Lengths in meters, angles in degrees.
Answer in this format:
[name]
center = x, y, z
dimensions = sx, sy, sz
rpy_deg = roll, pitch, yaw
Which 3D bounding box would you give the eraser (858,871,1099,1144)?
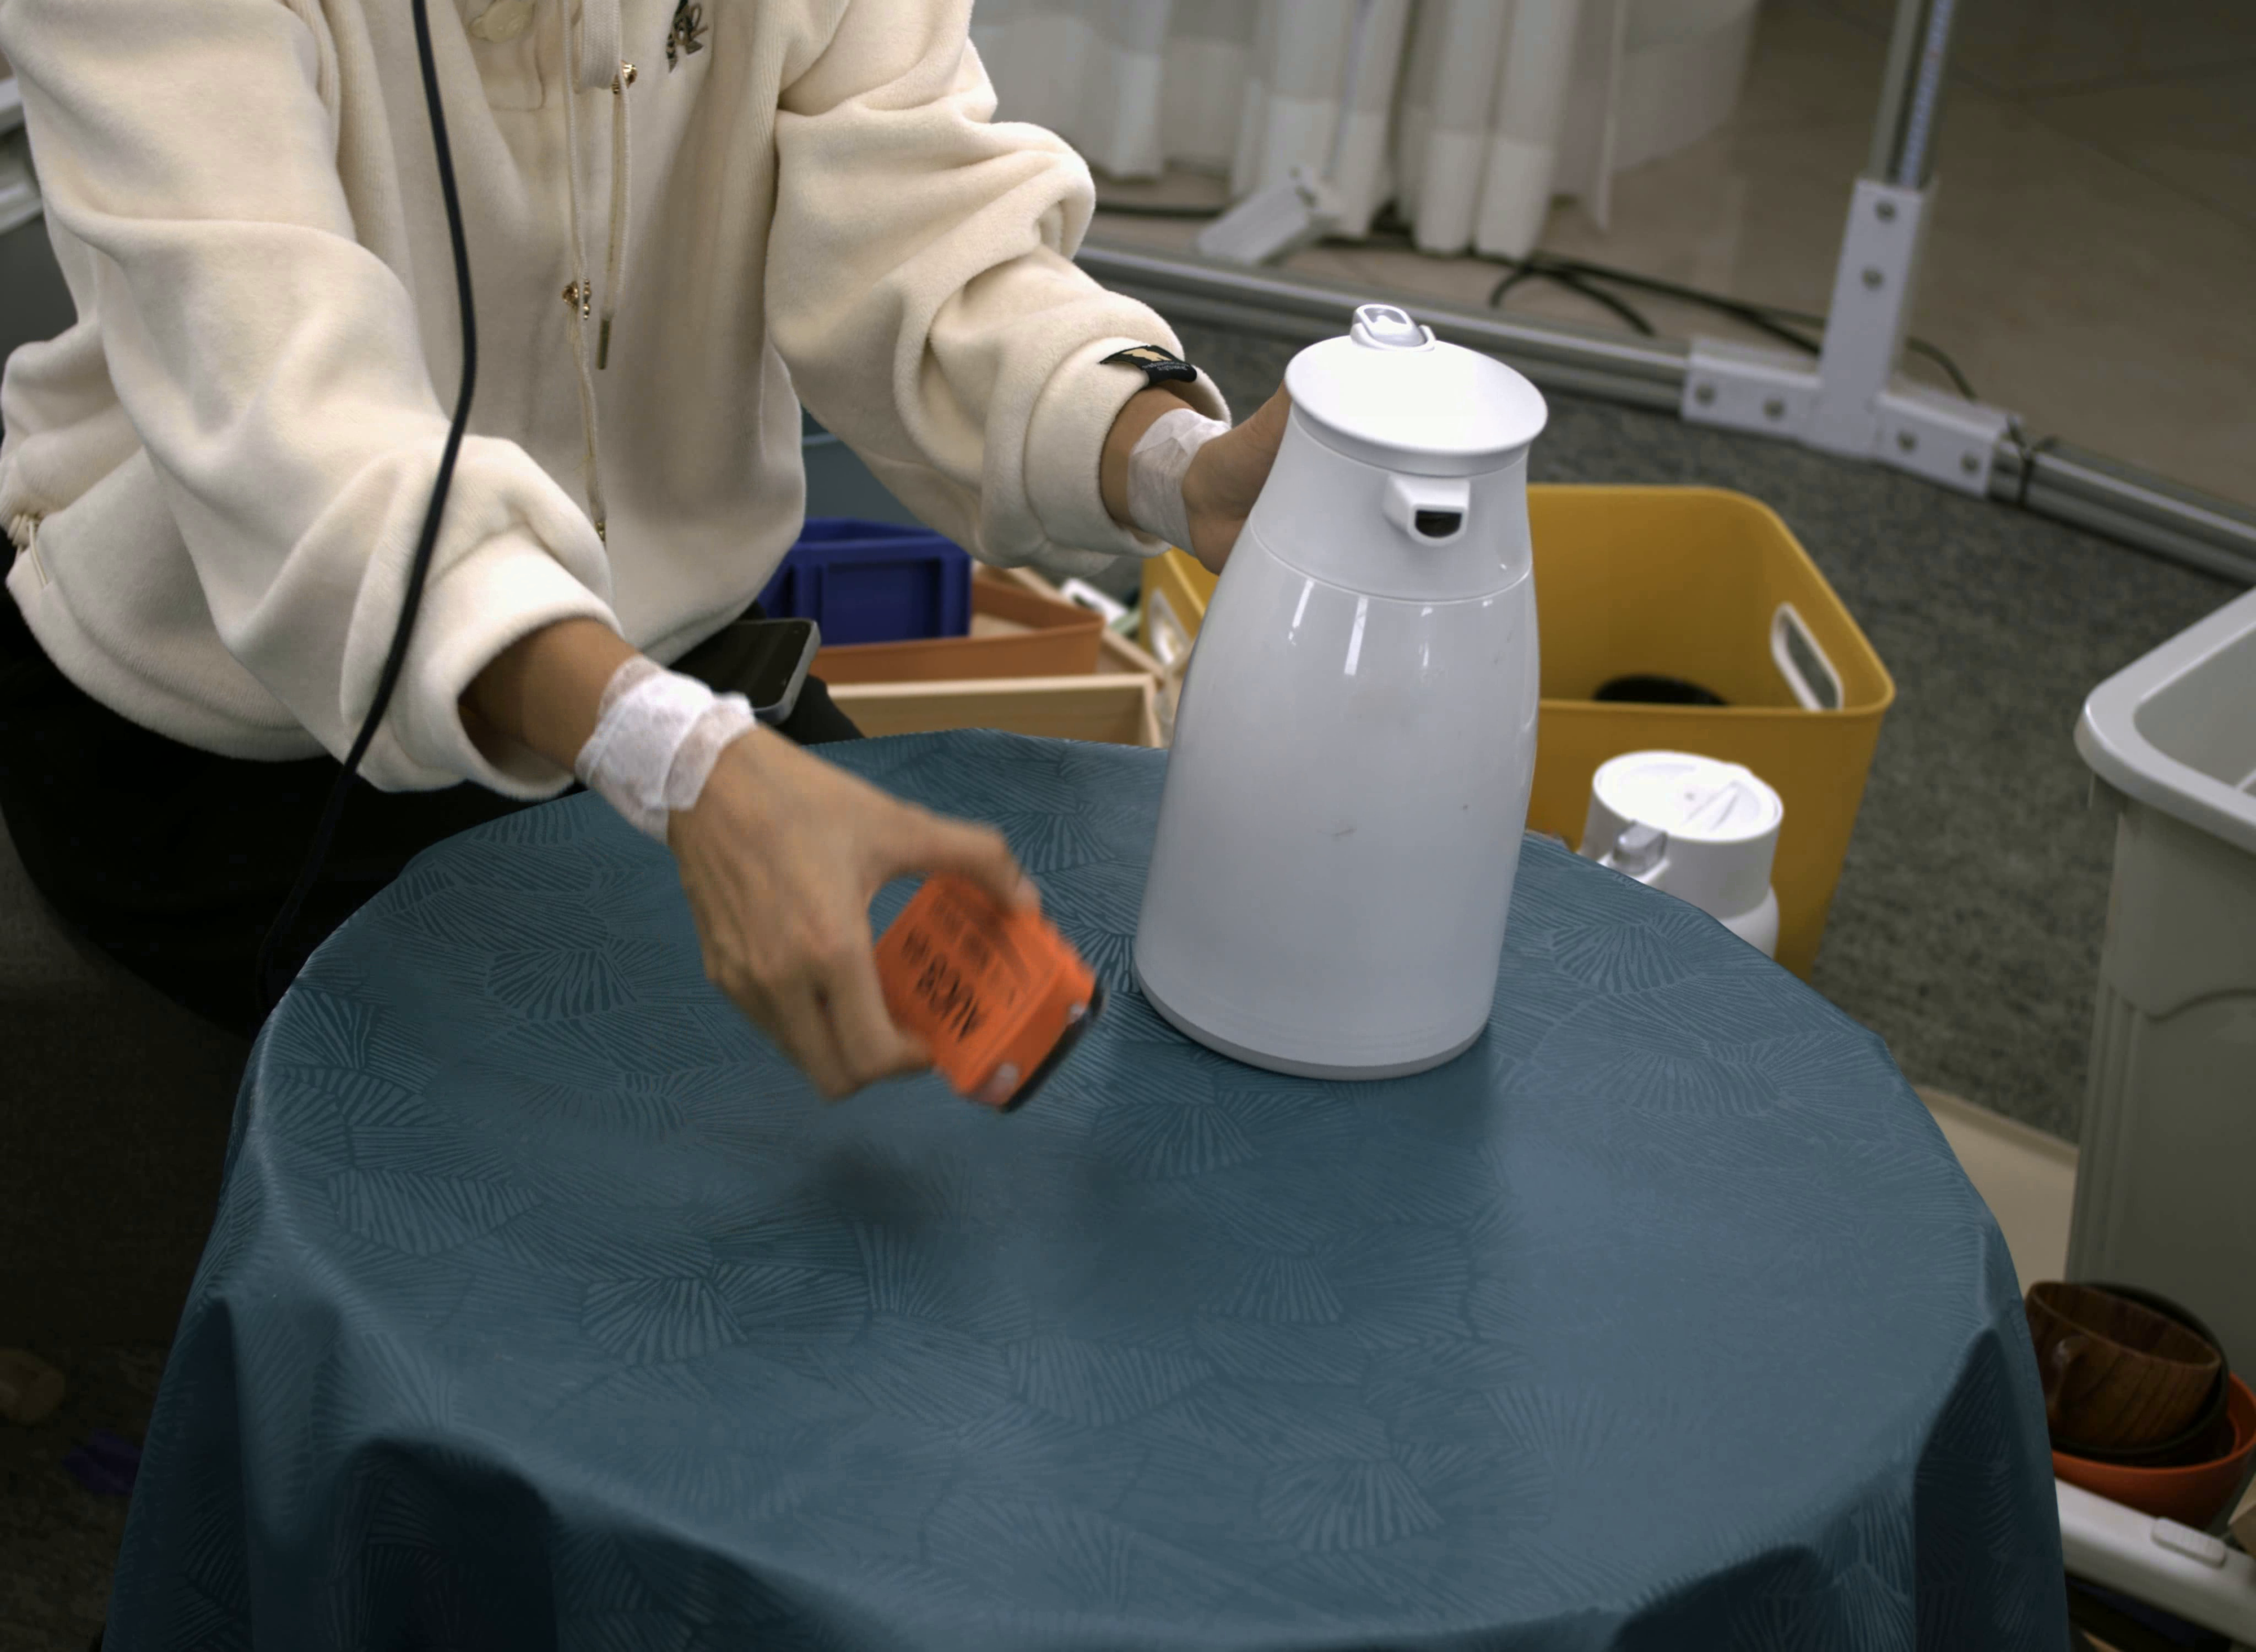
[eraser]
center = -0.050, 0.059, 1.766
dimensions = 0.022, 0.059, 0.109
rpy_deg = 40, 3, -30

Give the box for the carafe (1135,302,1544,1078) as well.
[carafe]
center = 0.079, -0.059, 1.898
dimensions = 0.132, 0.248, 0.169
rpy_deg = 2, 28, -10
